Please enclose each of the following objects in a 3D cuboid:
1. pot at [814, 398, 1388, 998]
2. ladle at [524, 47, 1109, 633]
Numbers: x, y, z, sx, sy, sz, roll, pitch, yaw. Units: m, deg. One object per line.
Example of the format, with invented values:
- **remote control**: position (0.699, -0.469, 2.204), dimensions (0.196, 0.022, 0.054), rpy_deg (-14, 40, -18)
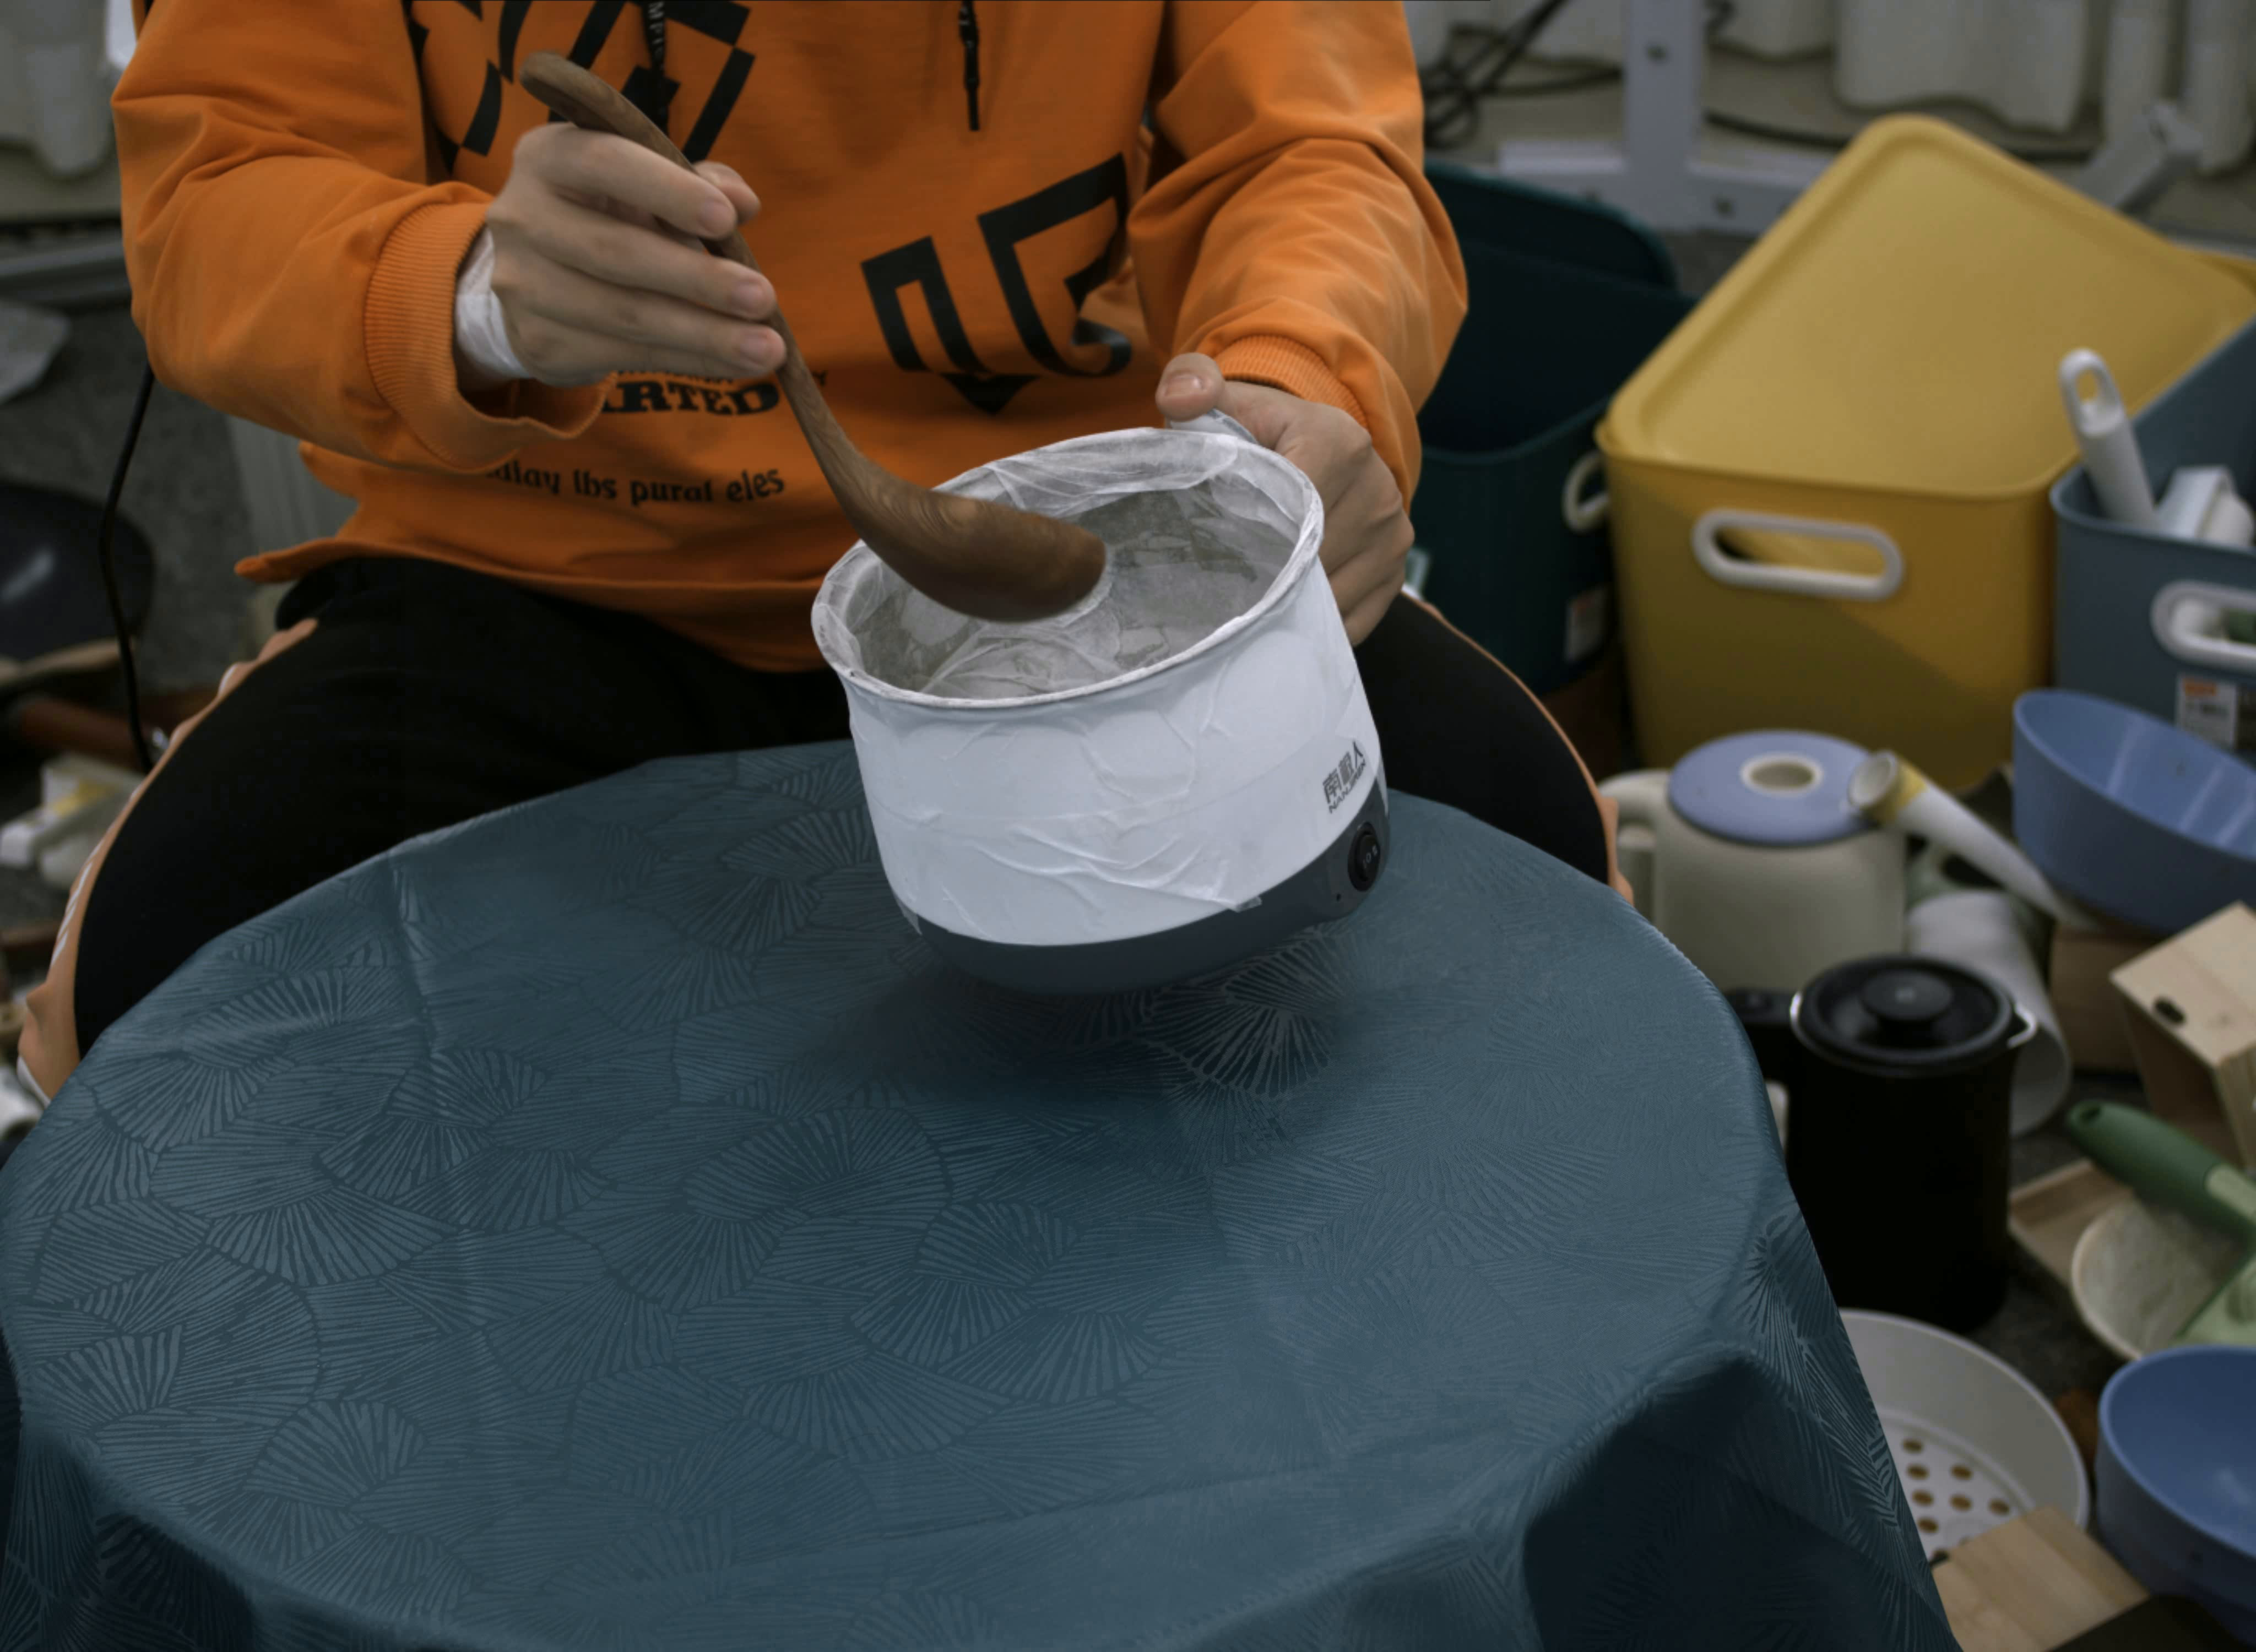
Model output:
- **pot**: position (0.004, -0.052, 1.944), dimensions (0.177, 0.135, 0.238), rpy_deg (3, 35, 27)
- **ladle**: position (-0.104, -0.168, 1.898), dimensions (0.065, 0.260, 0.076), rpy_deg (-36, -2, -17)
